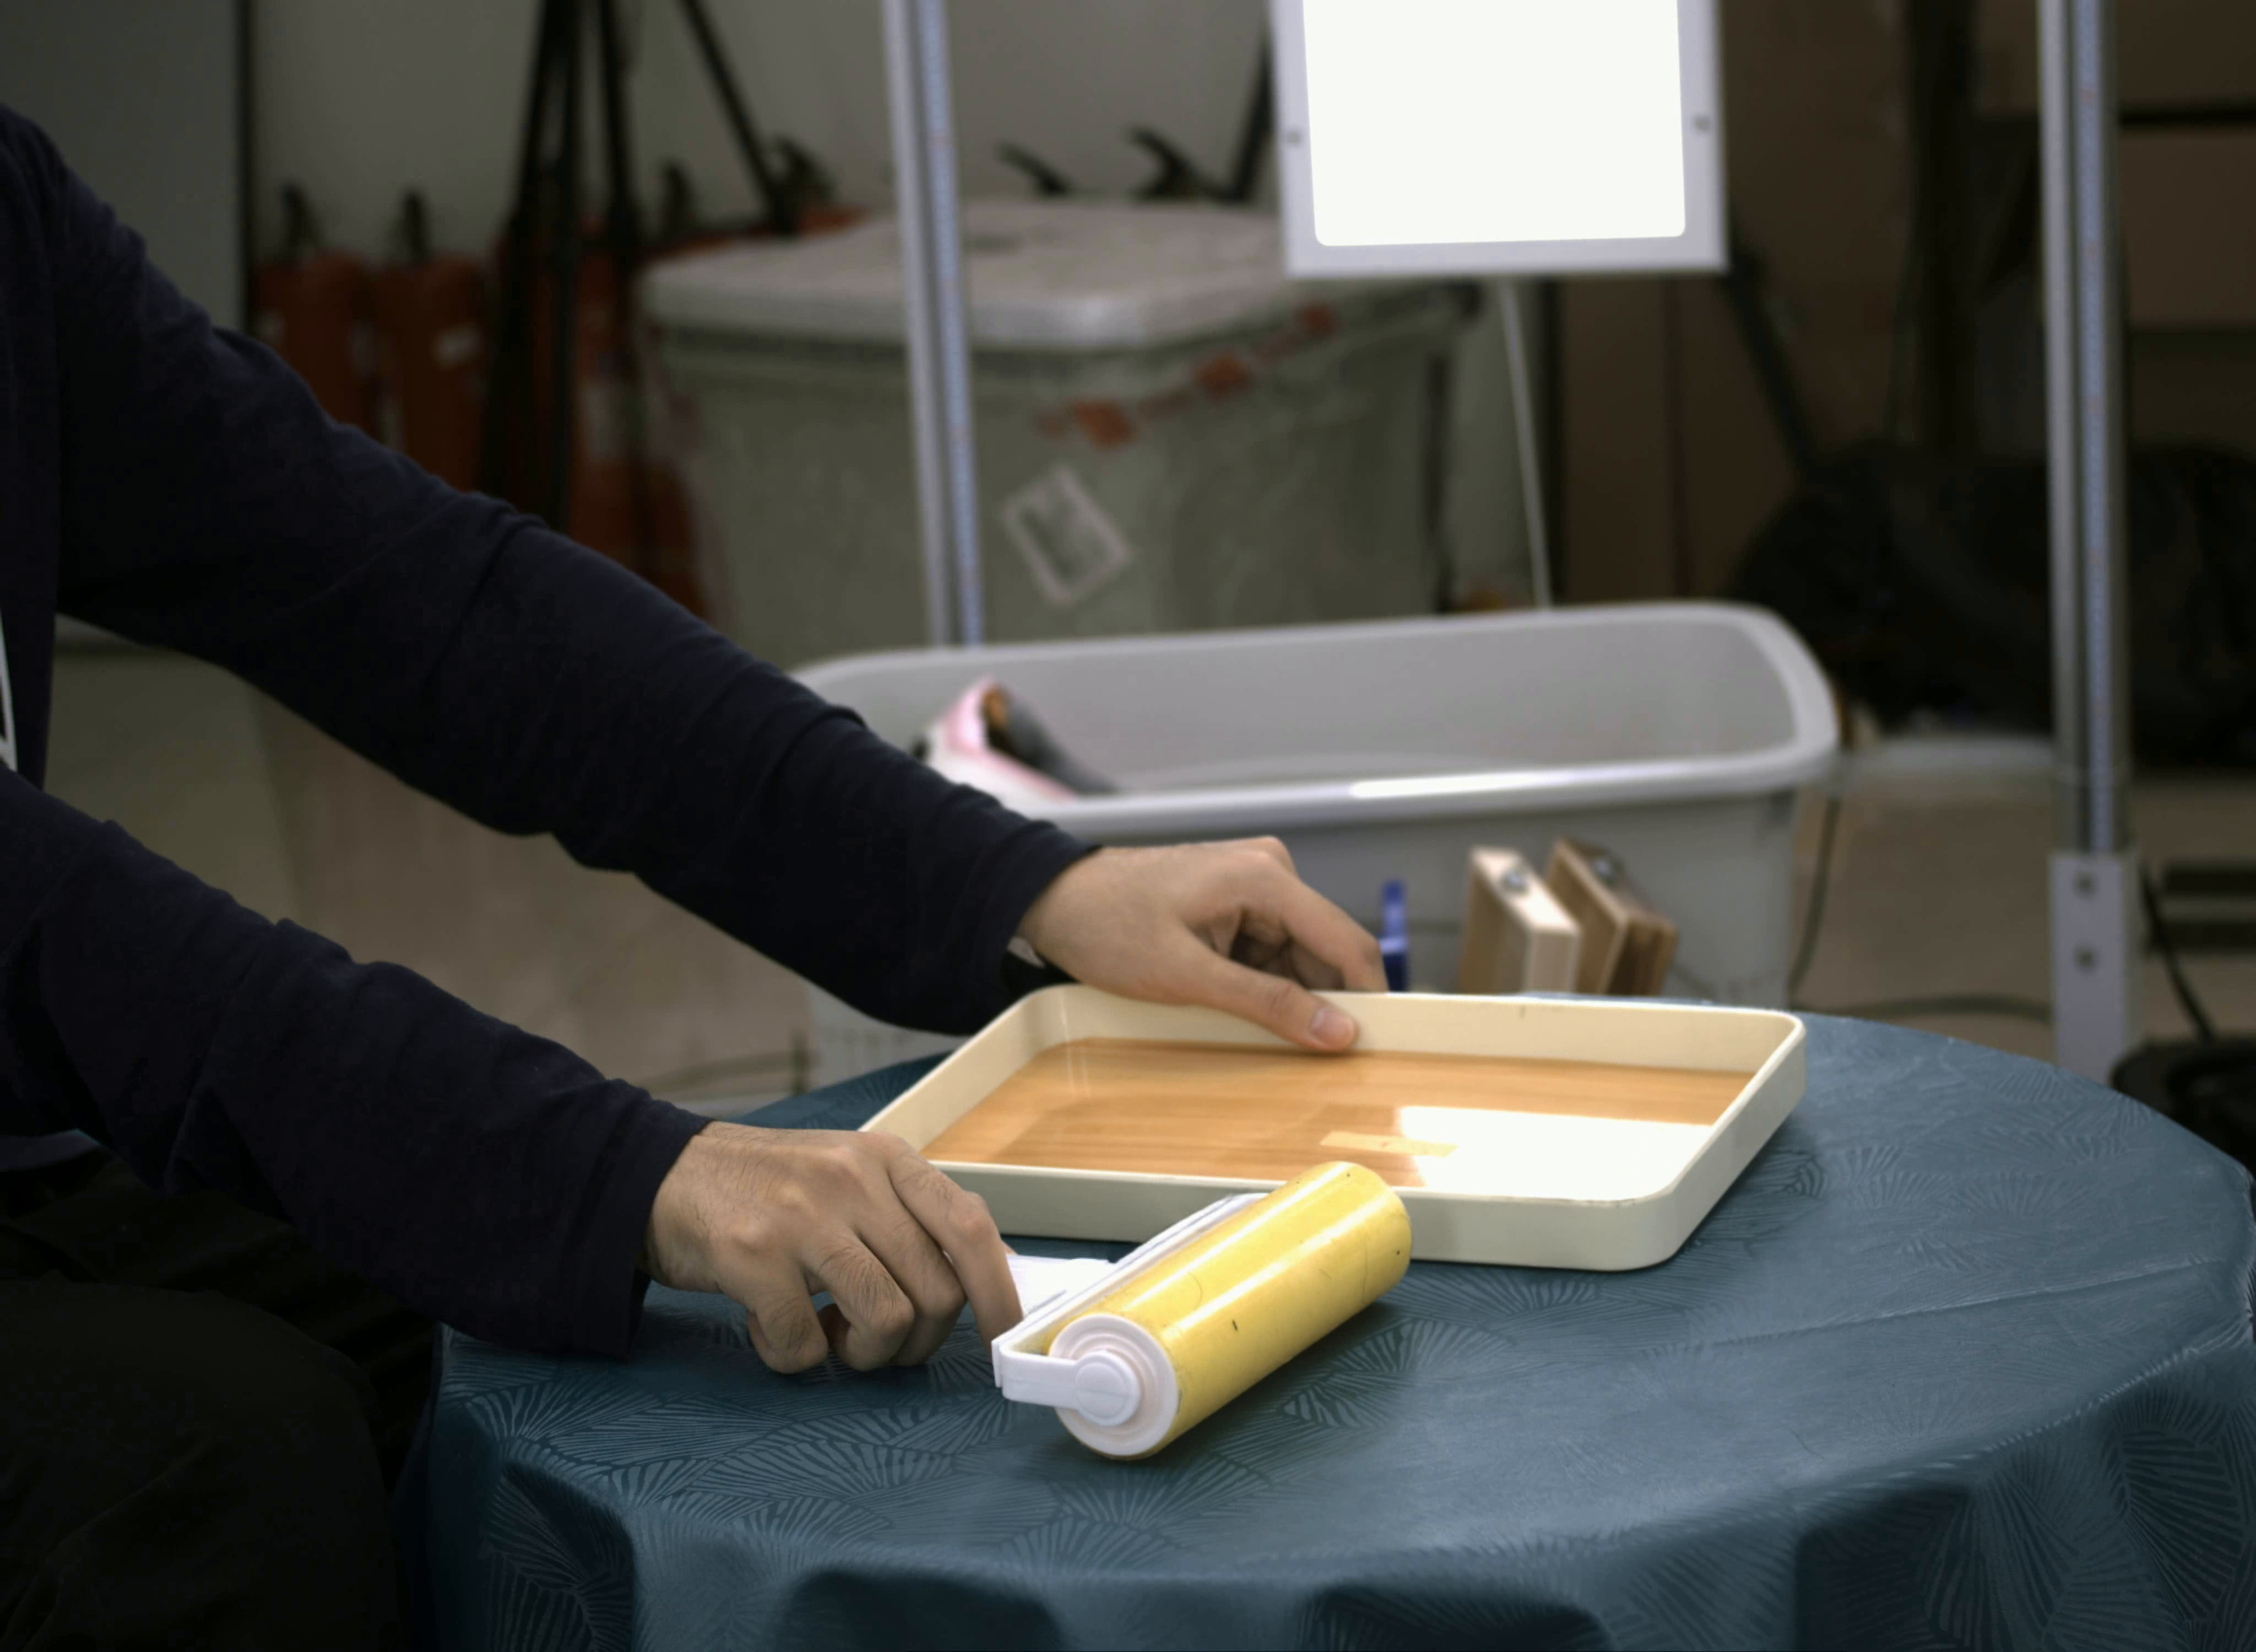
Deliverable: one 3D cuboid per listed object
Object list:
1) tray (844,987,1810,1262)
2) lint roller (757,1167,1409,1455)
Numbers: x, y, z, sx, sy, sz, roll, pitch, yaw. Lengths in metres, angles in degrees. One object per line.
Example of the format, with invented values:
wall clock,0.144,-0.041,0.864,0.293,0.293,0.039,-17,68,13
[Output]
tray,0.071,0.101,1.905,0.305,0.027,0.188,1,17,26
lint roller,-0.031,0.136,1.731,0.195,0.052,0.170,12,18,26
